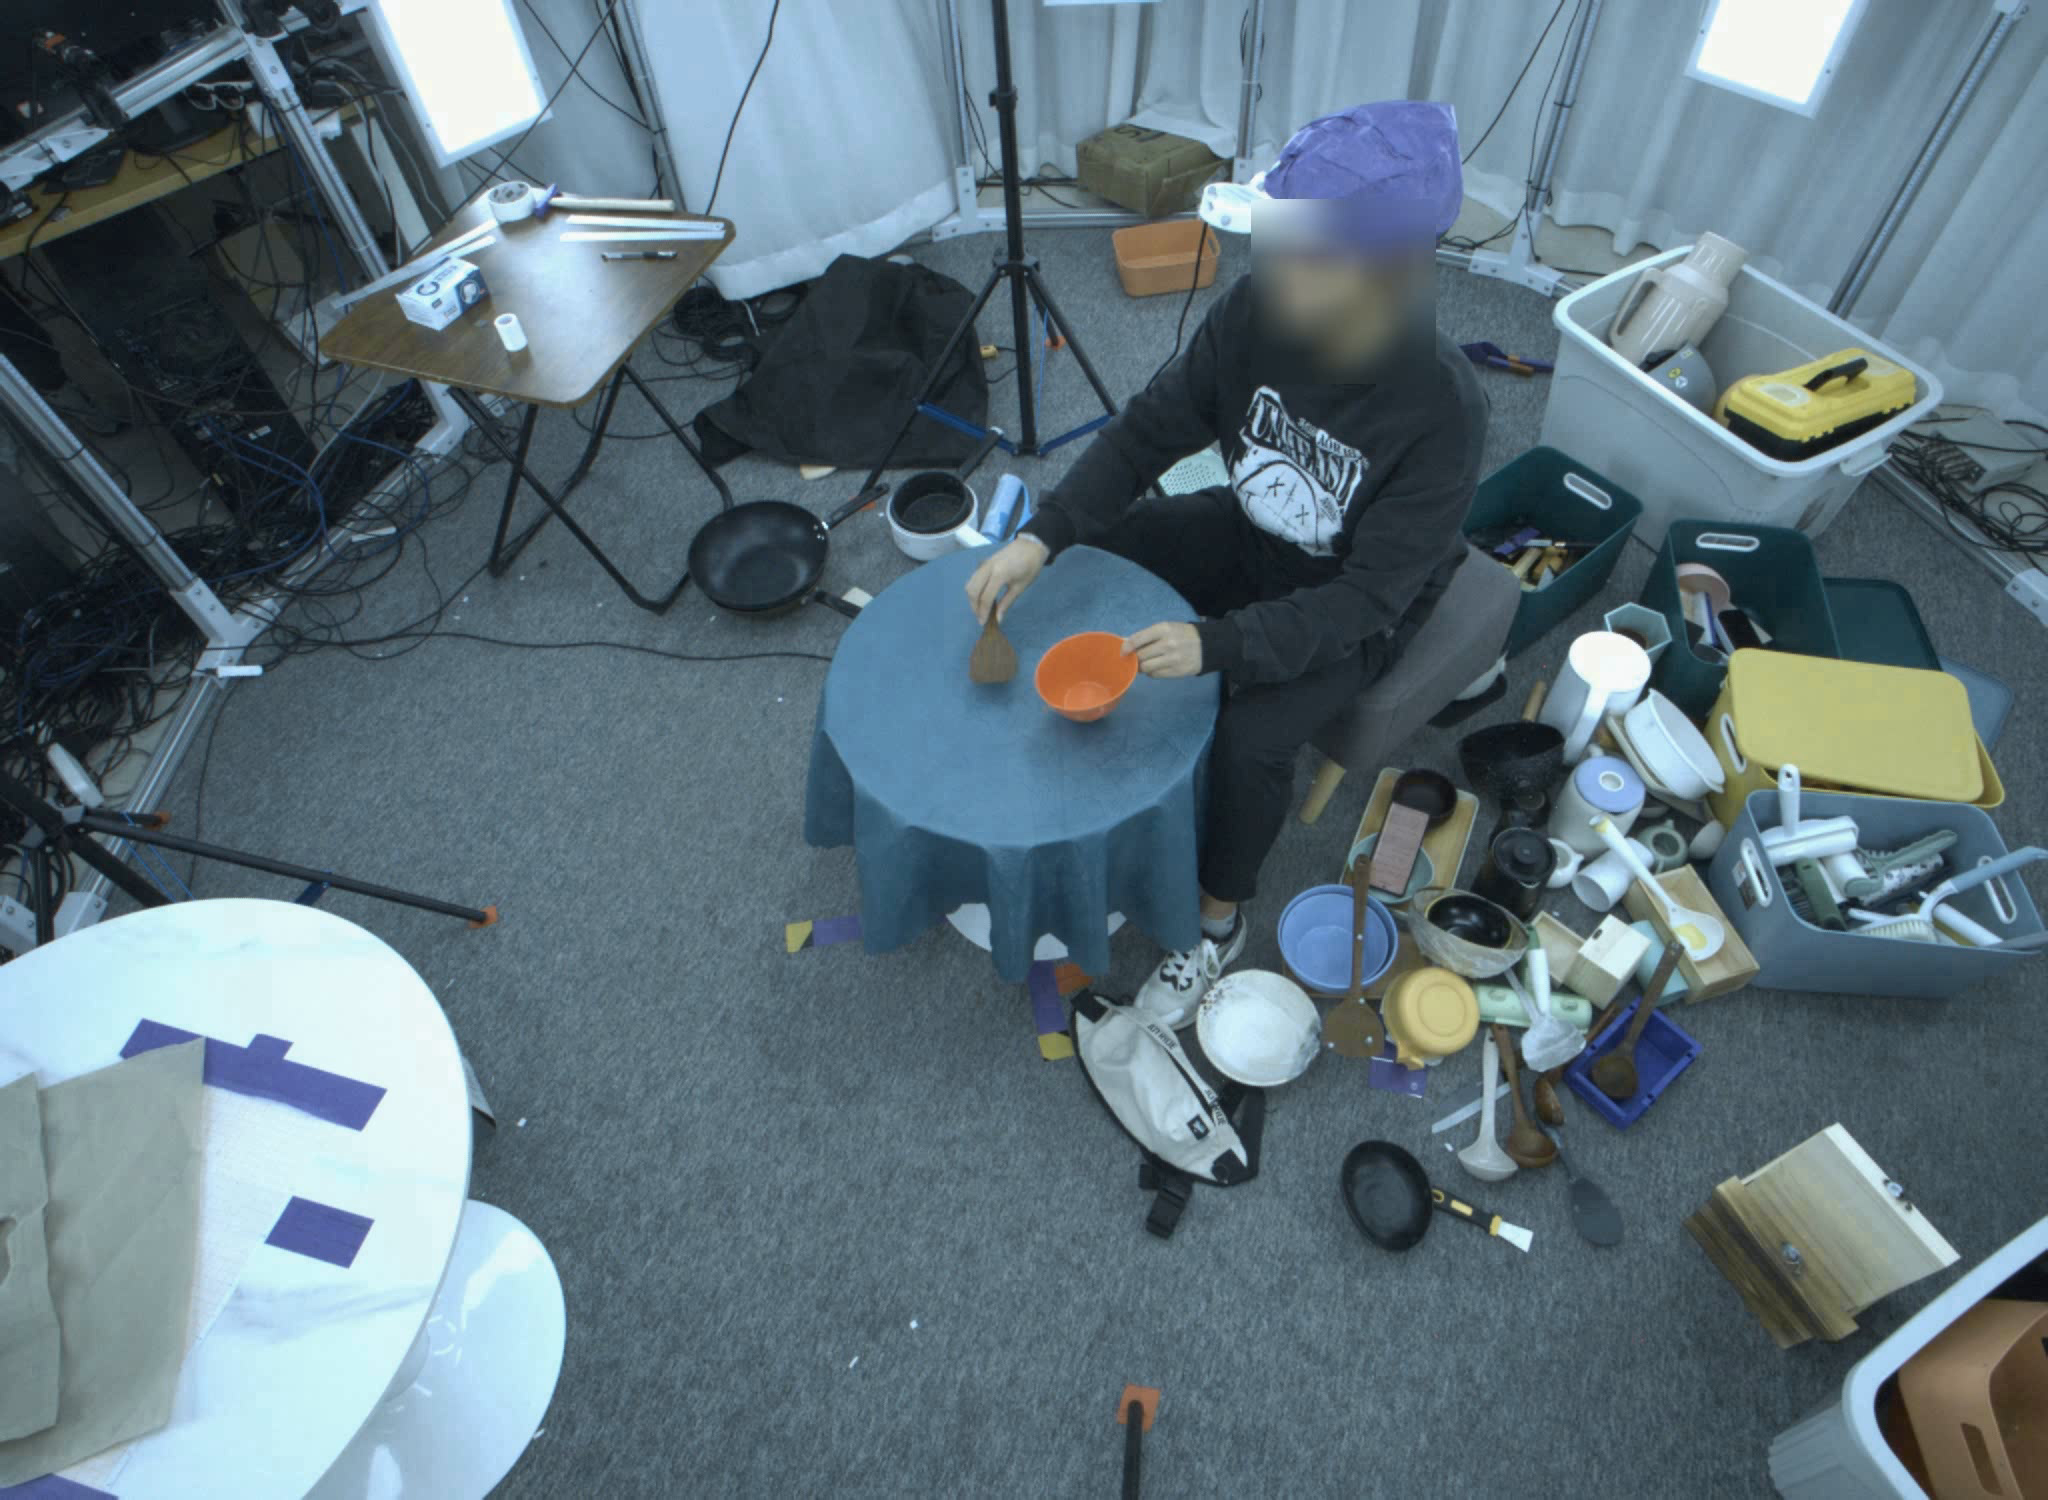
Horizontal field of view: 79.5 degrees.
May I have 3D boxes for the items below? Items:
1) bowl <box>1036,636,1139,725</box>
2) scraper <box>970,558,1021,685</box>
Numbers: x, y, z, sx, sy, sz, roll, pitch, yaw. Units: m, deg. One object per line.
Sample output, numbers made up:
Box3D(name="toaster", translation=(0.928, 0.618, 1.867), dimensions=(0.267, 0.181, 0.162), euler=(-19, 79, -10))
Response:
Box3D(name="bowl", translation=(0.095, -0.085, 1.770), dimensions=(0.147, 0.106, 0.146), euler=(-3, 59, 6))
Box3D(name="scraper", translation=(-0.049, -0.195, 1.854), dimensions=(0.076, 0.011, 0.209), euler=(-3, 72, -3))
